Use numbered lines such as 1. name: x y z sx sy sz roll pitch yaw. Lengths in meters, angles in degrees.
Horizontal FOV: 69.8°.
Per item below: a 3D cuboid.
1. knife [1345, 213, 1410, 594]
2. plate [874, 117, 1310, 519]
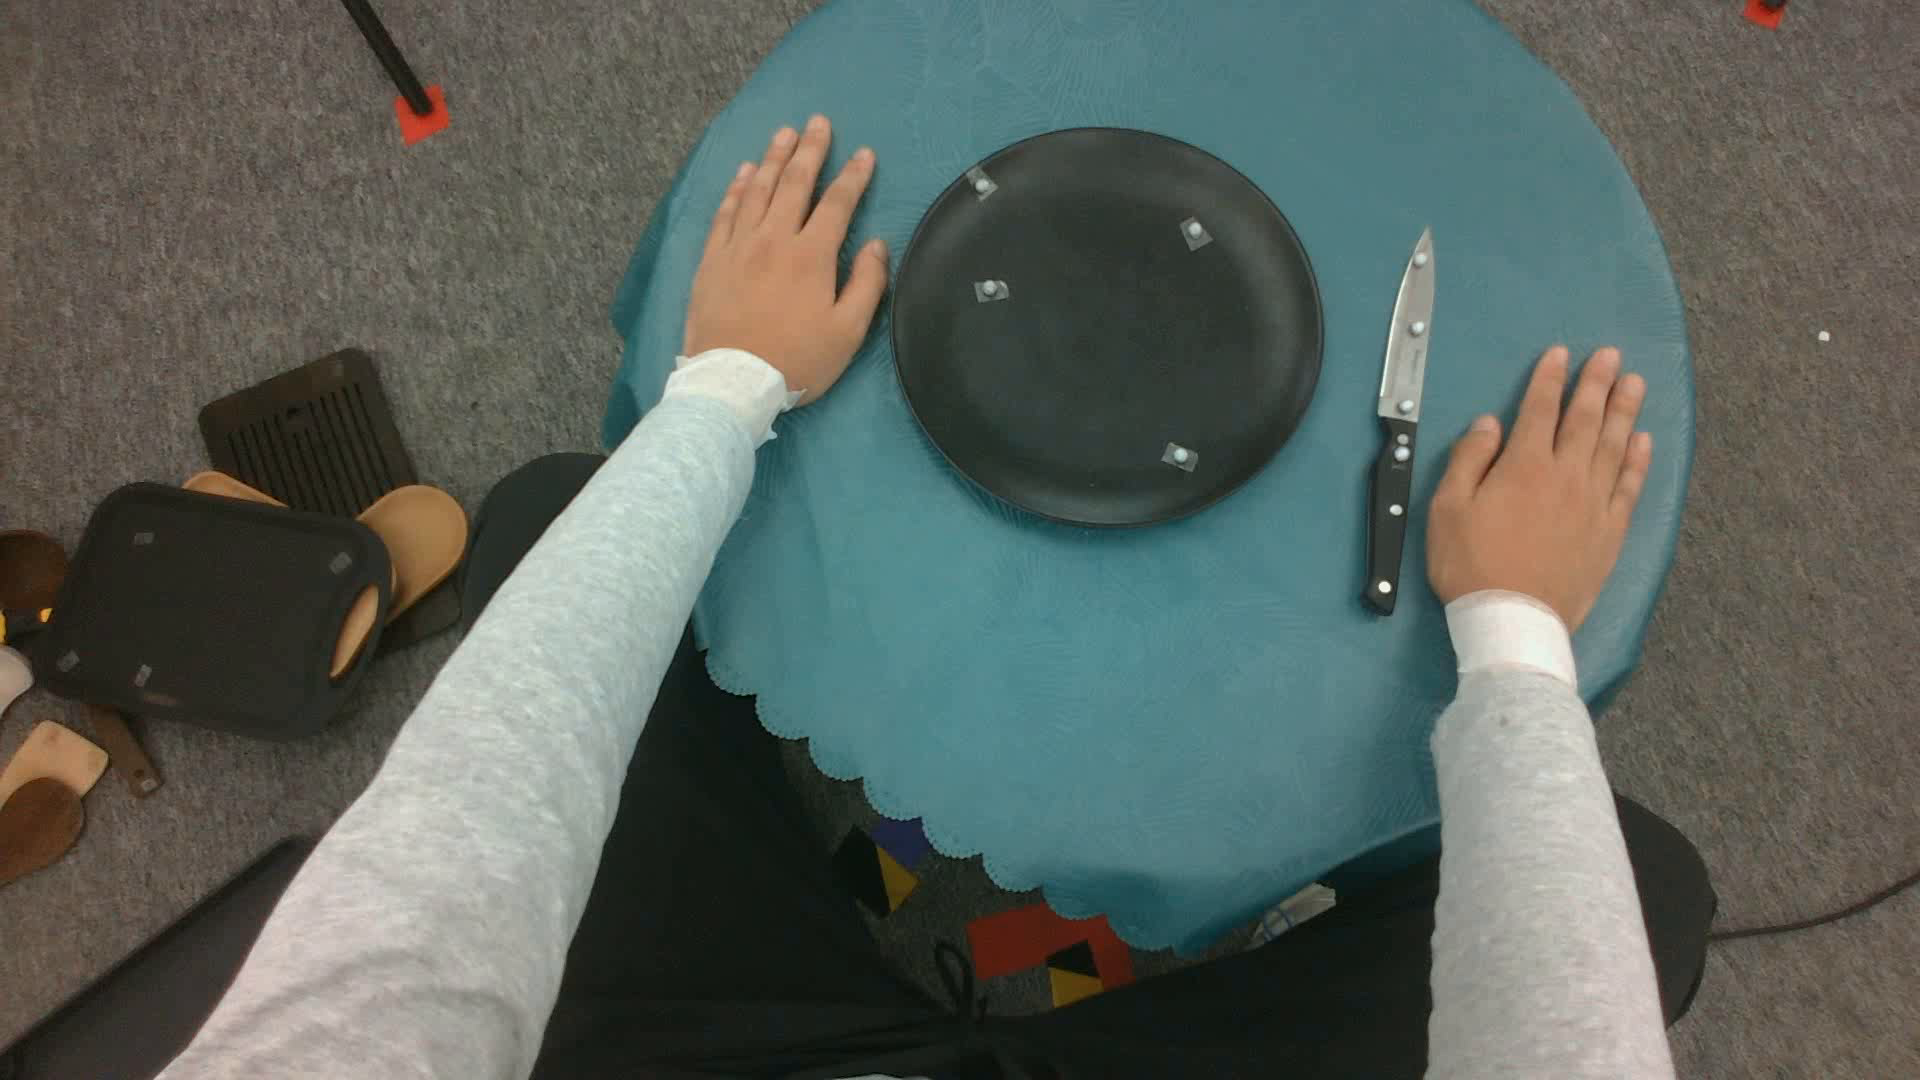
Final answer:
1. knife: 0.238 -0.082 0.774 0.024 0.016 0.239 11 71 1
2. plate: 0.074 -0.127 0.777 0.244 0.023 0.245 0 74 -1
